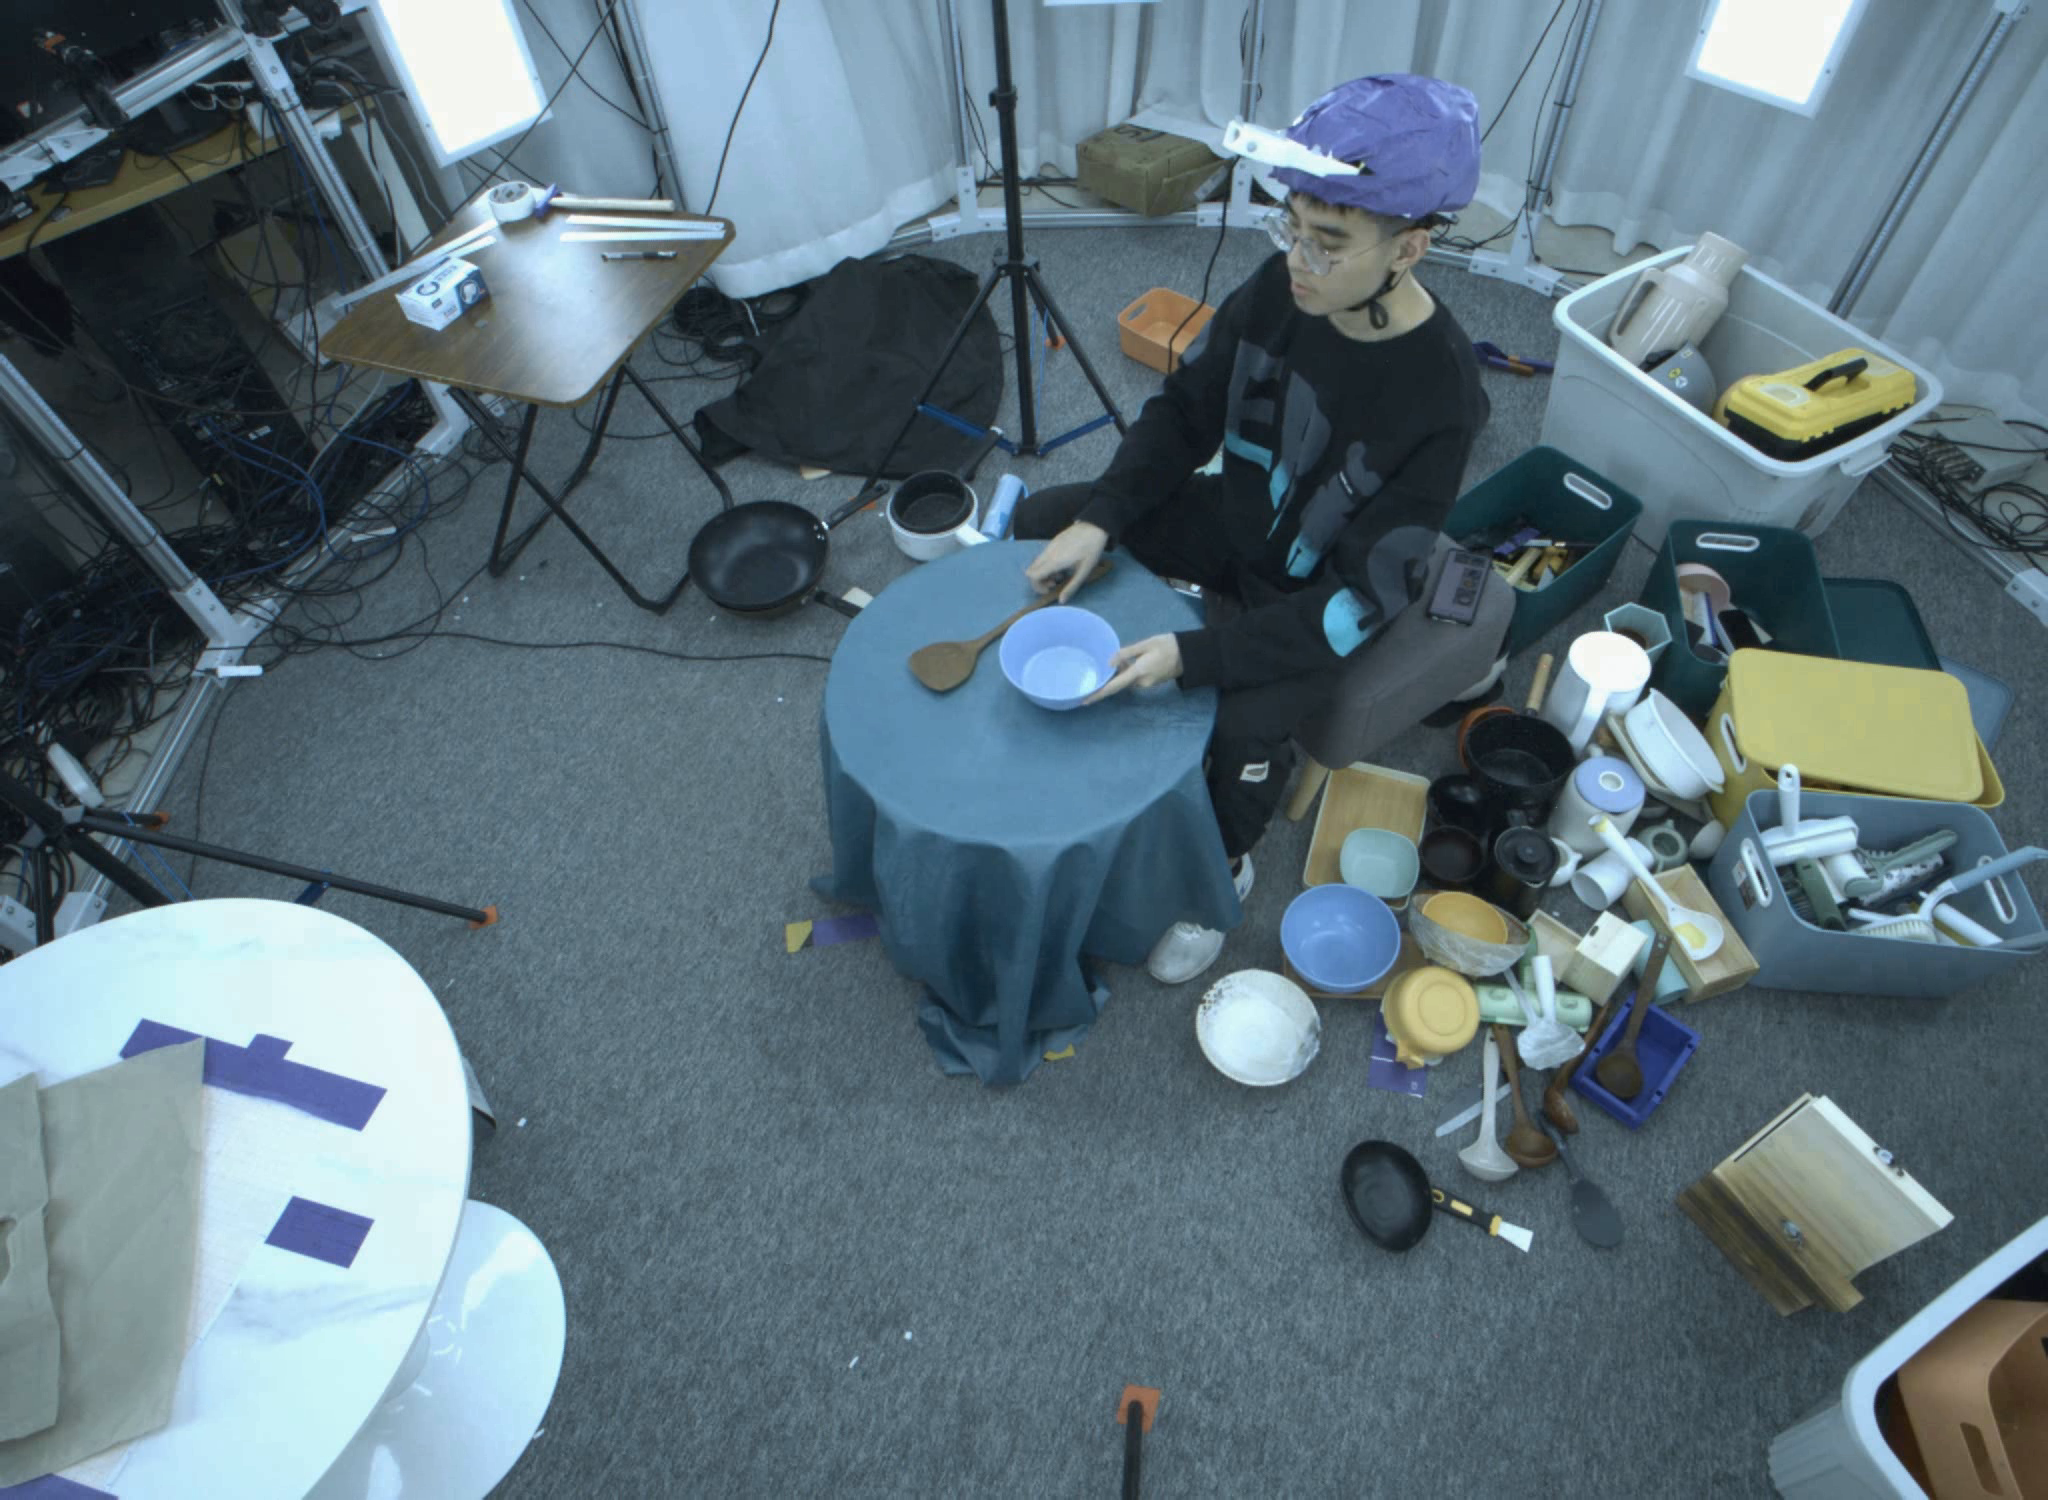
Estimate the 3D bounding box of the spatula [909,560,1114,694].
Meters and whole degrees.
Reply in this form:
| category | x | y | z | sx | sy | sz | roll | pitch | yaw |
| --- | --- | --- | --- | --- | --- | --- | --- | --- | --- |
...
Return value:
| category | x | y | z | sx | sy | sz | roll | pitch | yaw |
| --- | --- | --- | --- | --- | --- | --- | --- | --- | --- |
| spatula | -0.008 | -0.205 | 1.933 | 0.389 | 0.016 | 0.094 | -34 | 61 | -20 |

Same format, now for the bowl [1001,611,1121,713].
| category | x | y | z | sx | sy | sz | roll | pitch | yaw |
| --- | --- | --- | --- | --- | --- | --- | --- | --- | --- |
| bowl | 0.054 | -0.121 | 1.829 | 0.176 | 0.071 | 0.174 | 1 | 55 | 0 |
